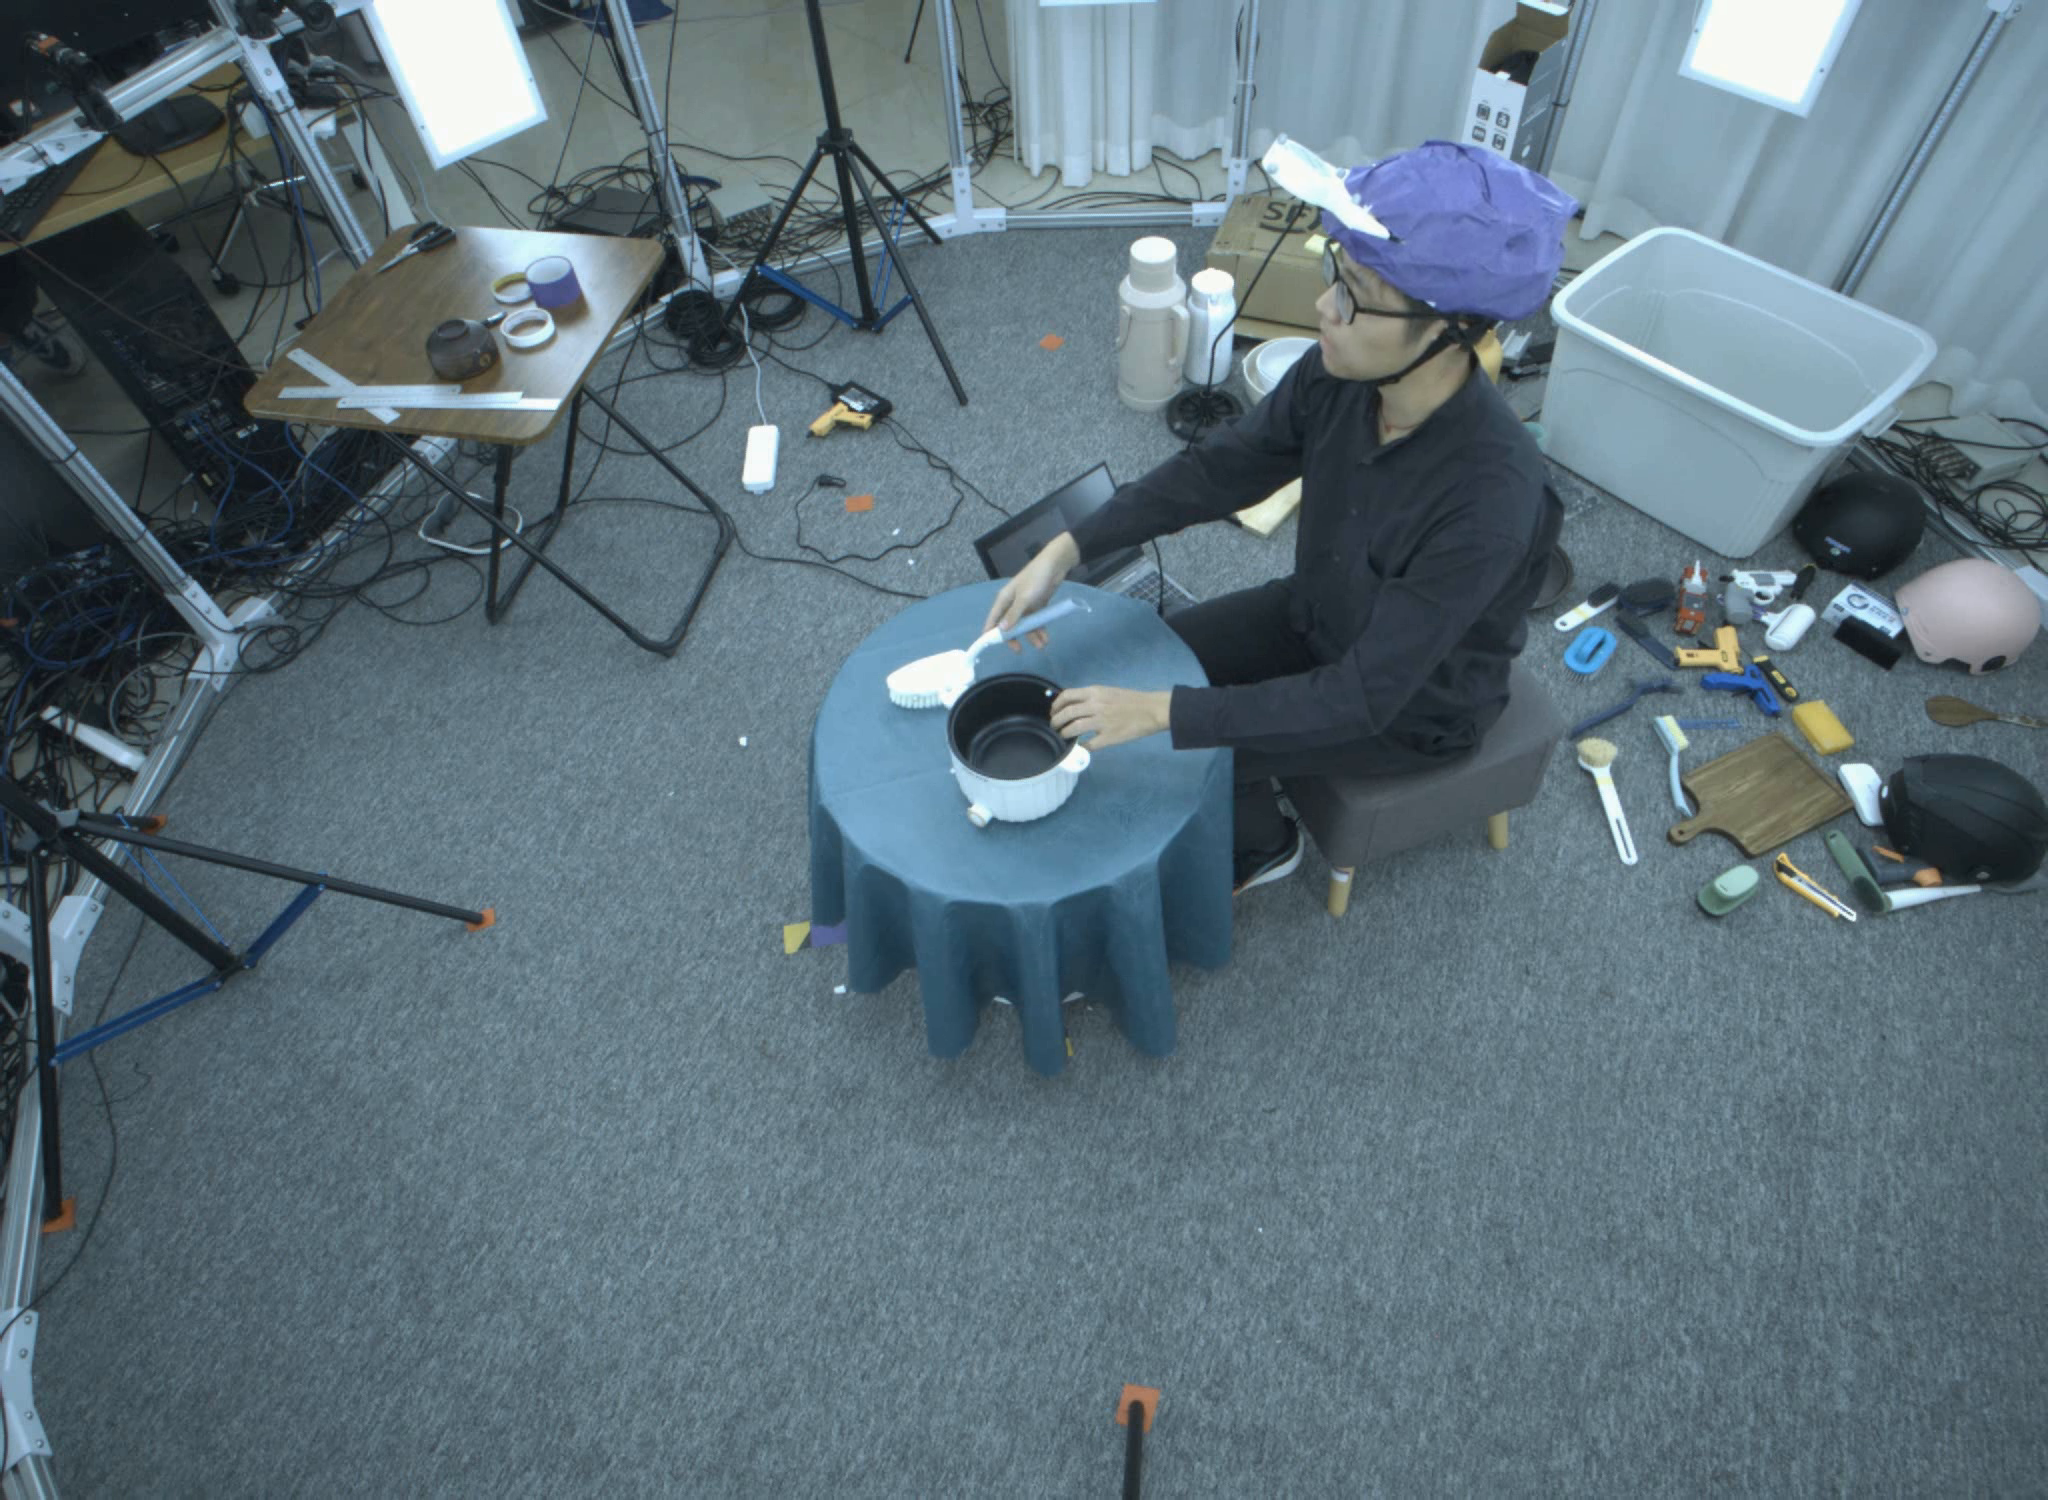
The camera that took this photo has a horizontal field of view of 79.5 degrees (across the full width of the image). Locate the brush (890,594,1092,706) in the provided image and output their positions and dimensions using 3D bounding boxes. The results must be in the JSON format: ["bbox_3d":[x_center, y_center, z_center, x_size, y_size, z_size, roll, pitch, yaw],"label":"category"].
[{"bbox_3d":[-0.043,-0.139,1.836,0.325,0.084,0.083,-22,92,1],"label":"brush"}]

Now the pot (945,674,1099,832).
[{"bbox_3d":[-0.003,0.013,1.686,0.236,0.144,0.191,27,58,22],"label":"pot"}]
